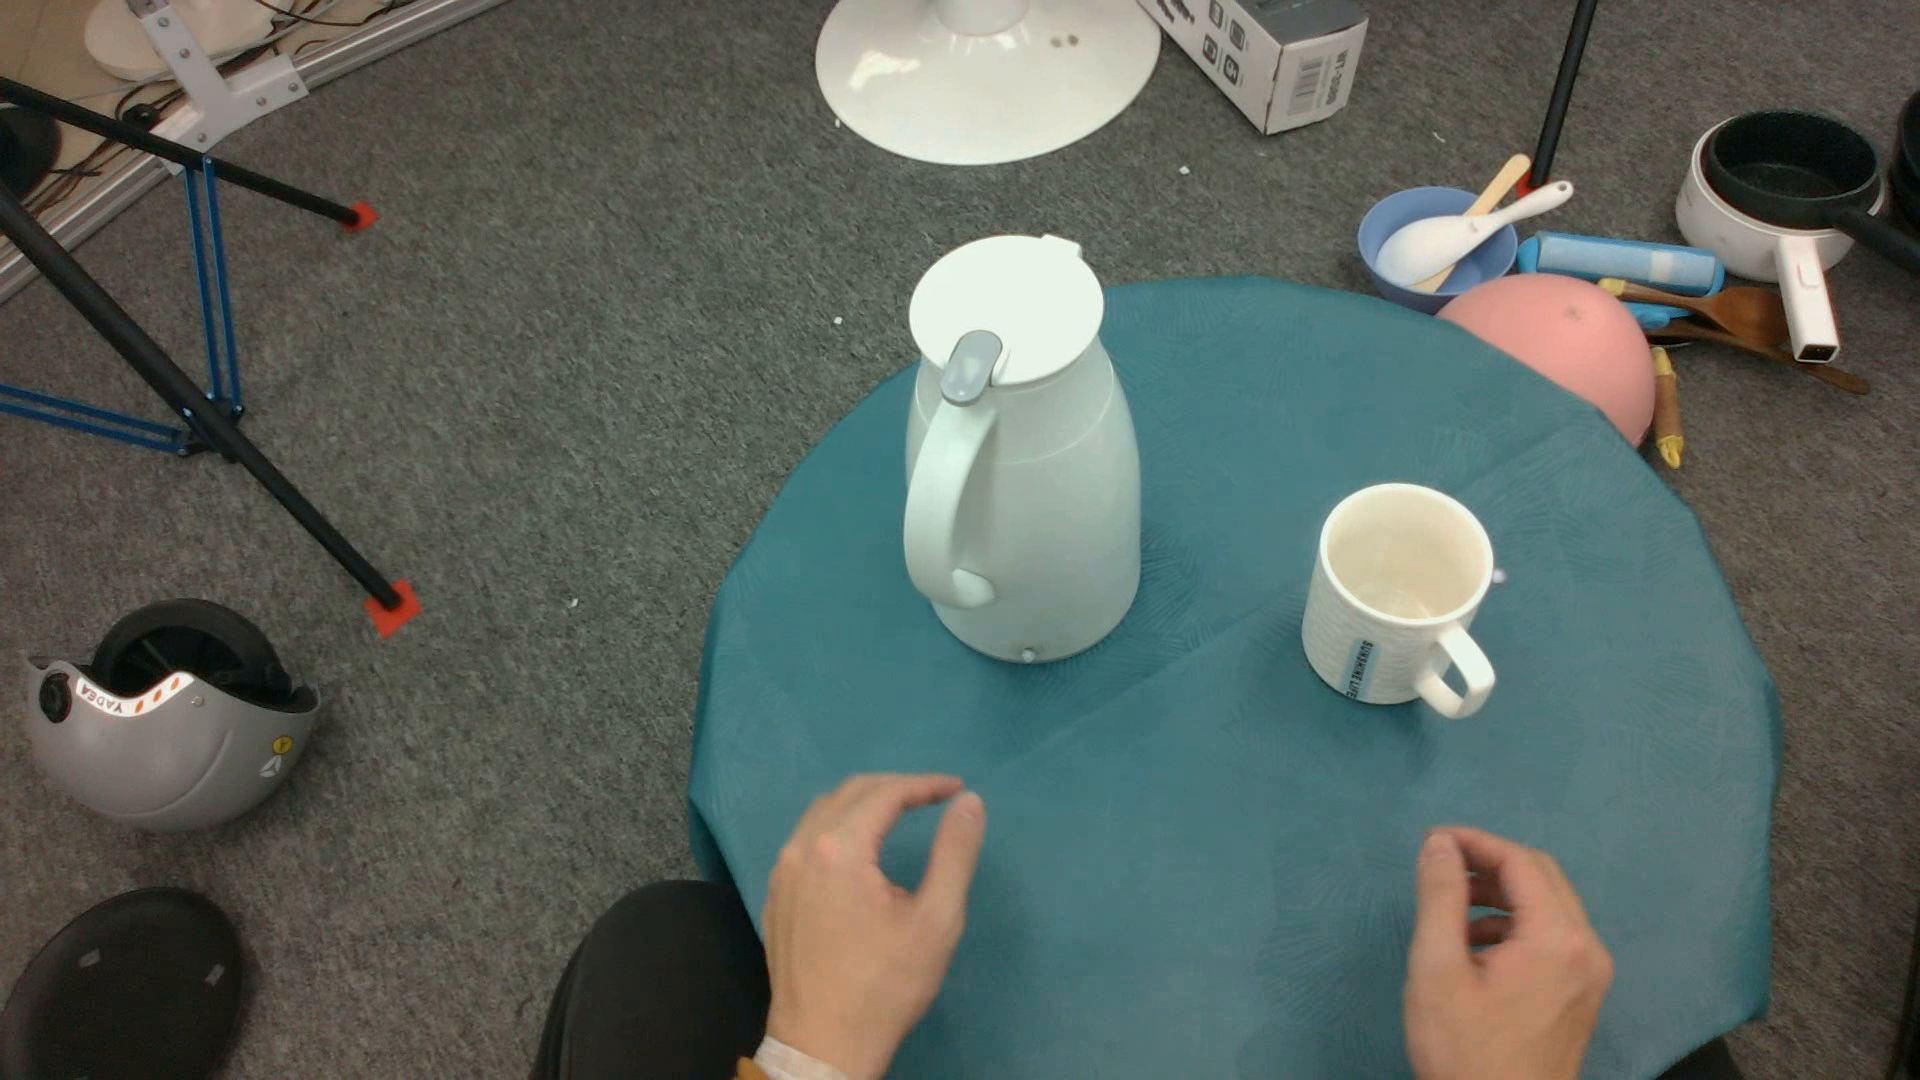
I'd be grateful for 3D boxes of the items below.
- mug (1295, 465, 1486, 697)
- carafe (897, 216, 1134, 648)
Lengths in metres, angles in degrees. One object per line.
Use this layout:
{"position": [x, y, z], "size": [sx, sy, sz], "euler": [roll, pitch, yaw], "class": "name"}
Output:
{"position": [0.238, 0.033, 0.748], "size": [0.085, 0.101, 0.118], "euler": [-26, 59, -9], "class": "mug"}
{"position": [0.022, -0.041, 0.731], "size": [0.132, 0.247, 0.168], "euler": [20, 63, 16], "class": "carafe"}
